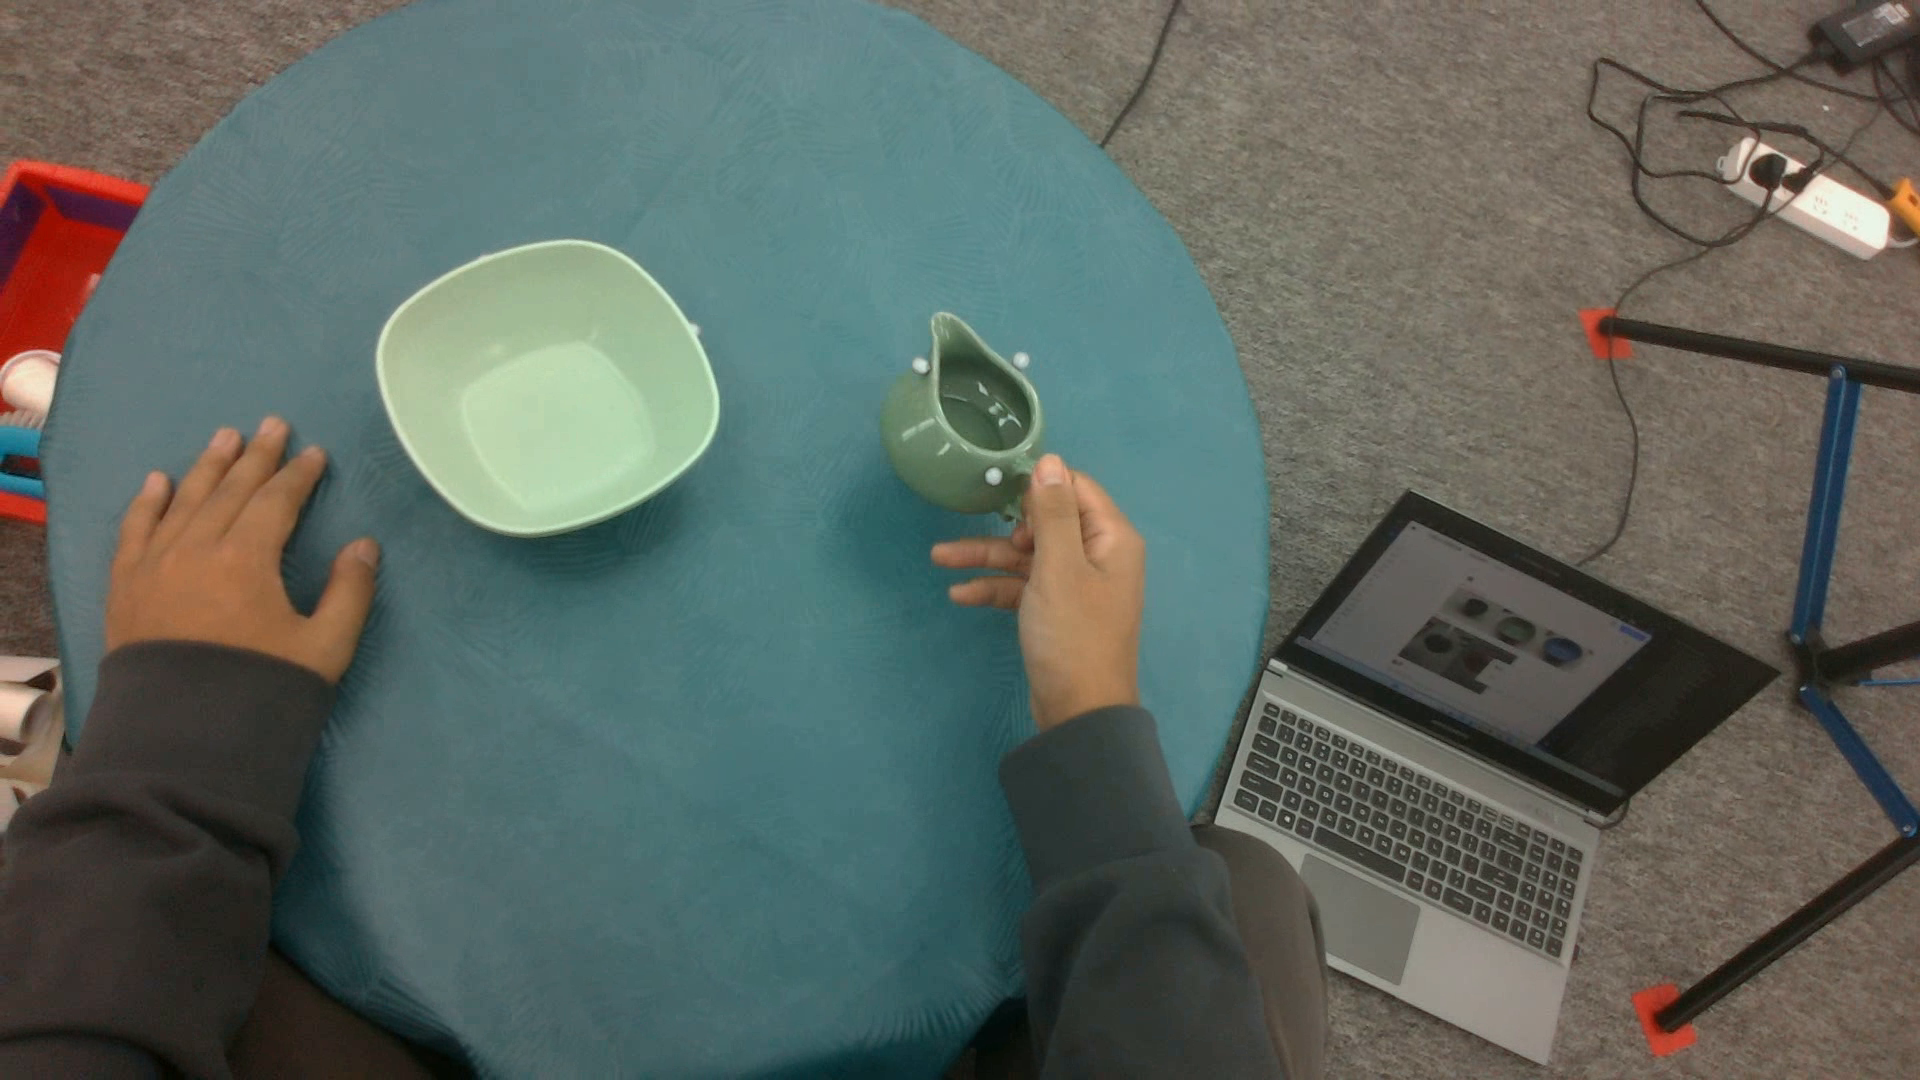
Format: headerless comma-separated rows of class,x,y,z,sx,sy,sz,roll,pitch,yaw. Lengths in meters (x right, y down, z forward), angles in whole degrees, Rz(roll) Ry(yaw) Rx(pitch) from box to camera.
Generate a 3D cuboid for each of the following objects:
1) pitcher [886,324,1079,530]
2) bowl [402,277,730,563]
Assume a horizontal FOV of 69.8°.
pitcher,0.012,-0.047,0.666,0.084,0.056,0.112,-33,82,-31
bowl,-0.189,-0.050,0.671,0.151,0.058,0.152,4,67,-10
